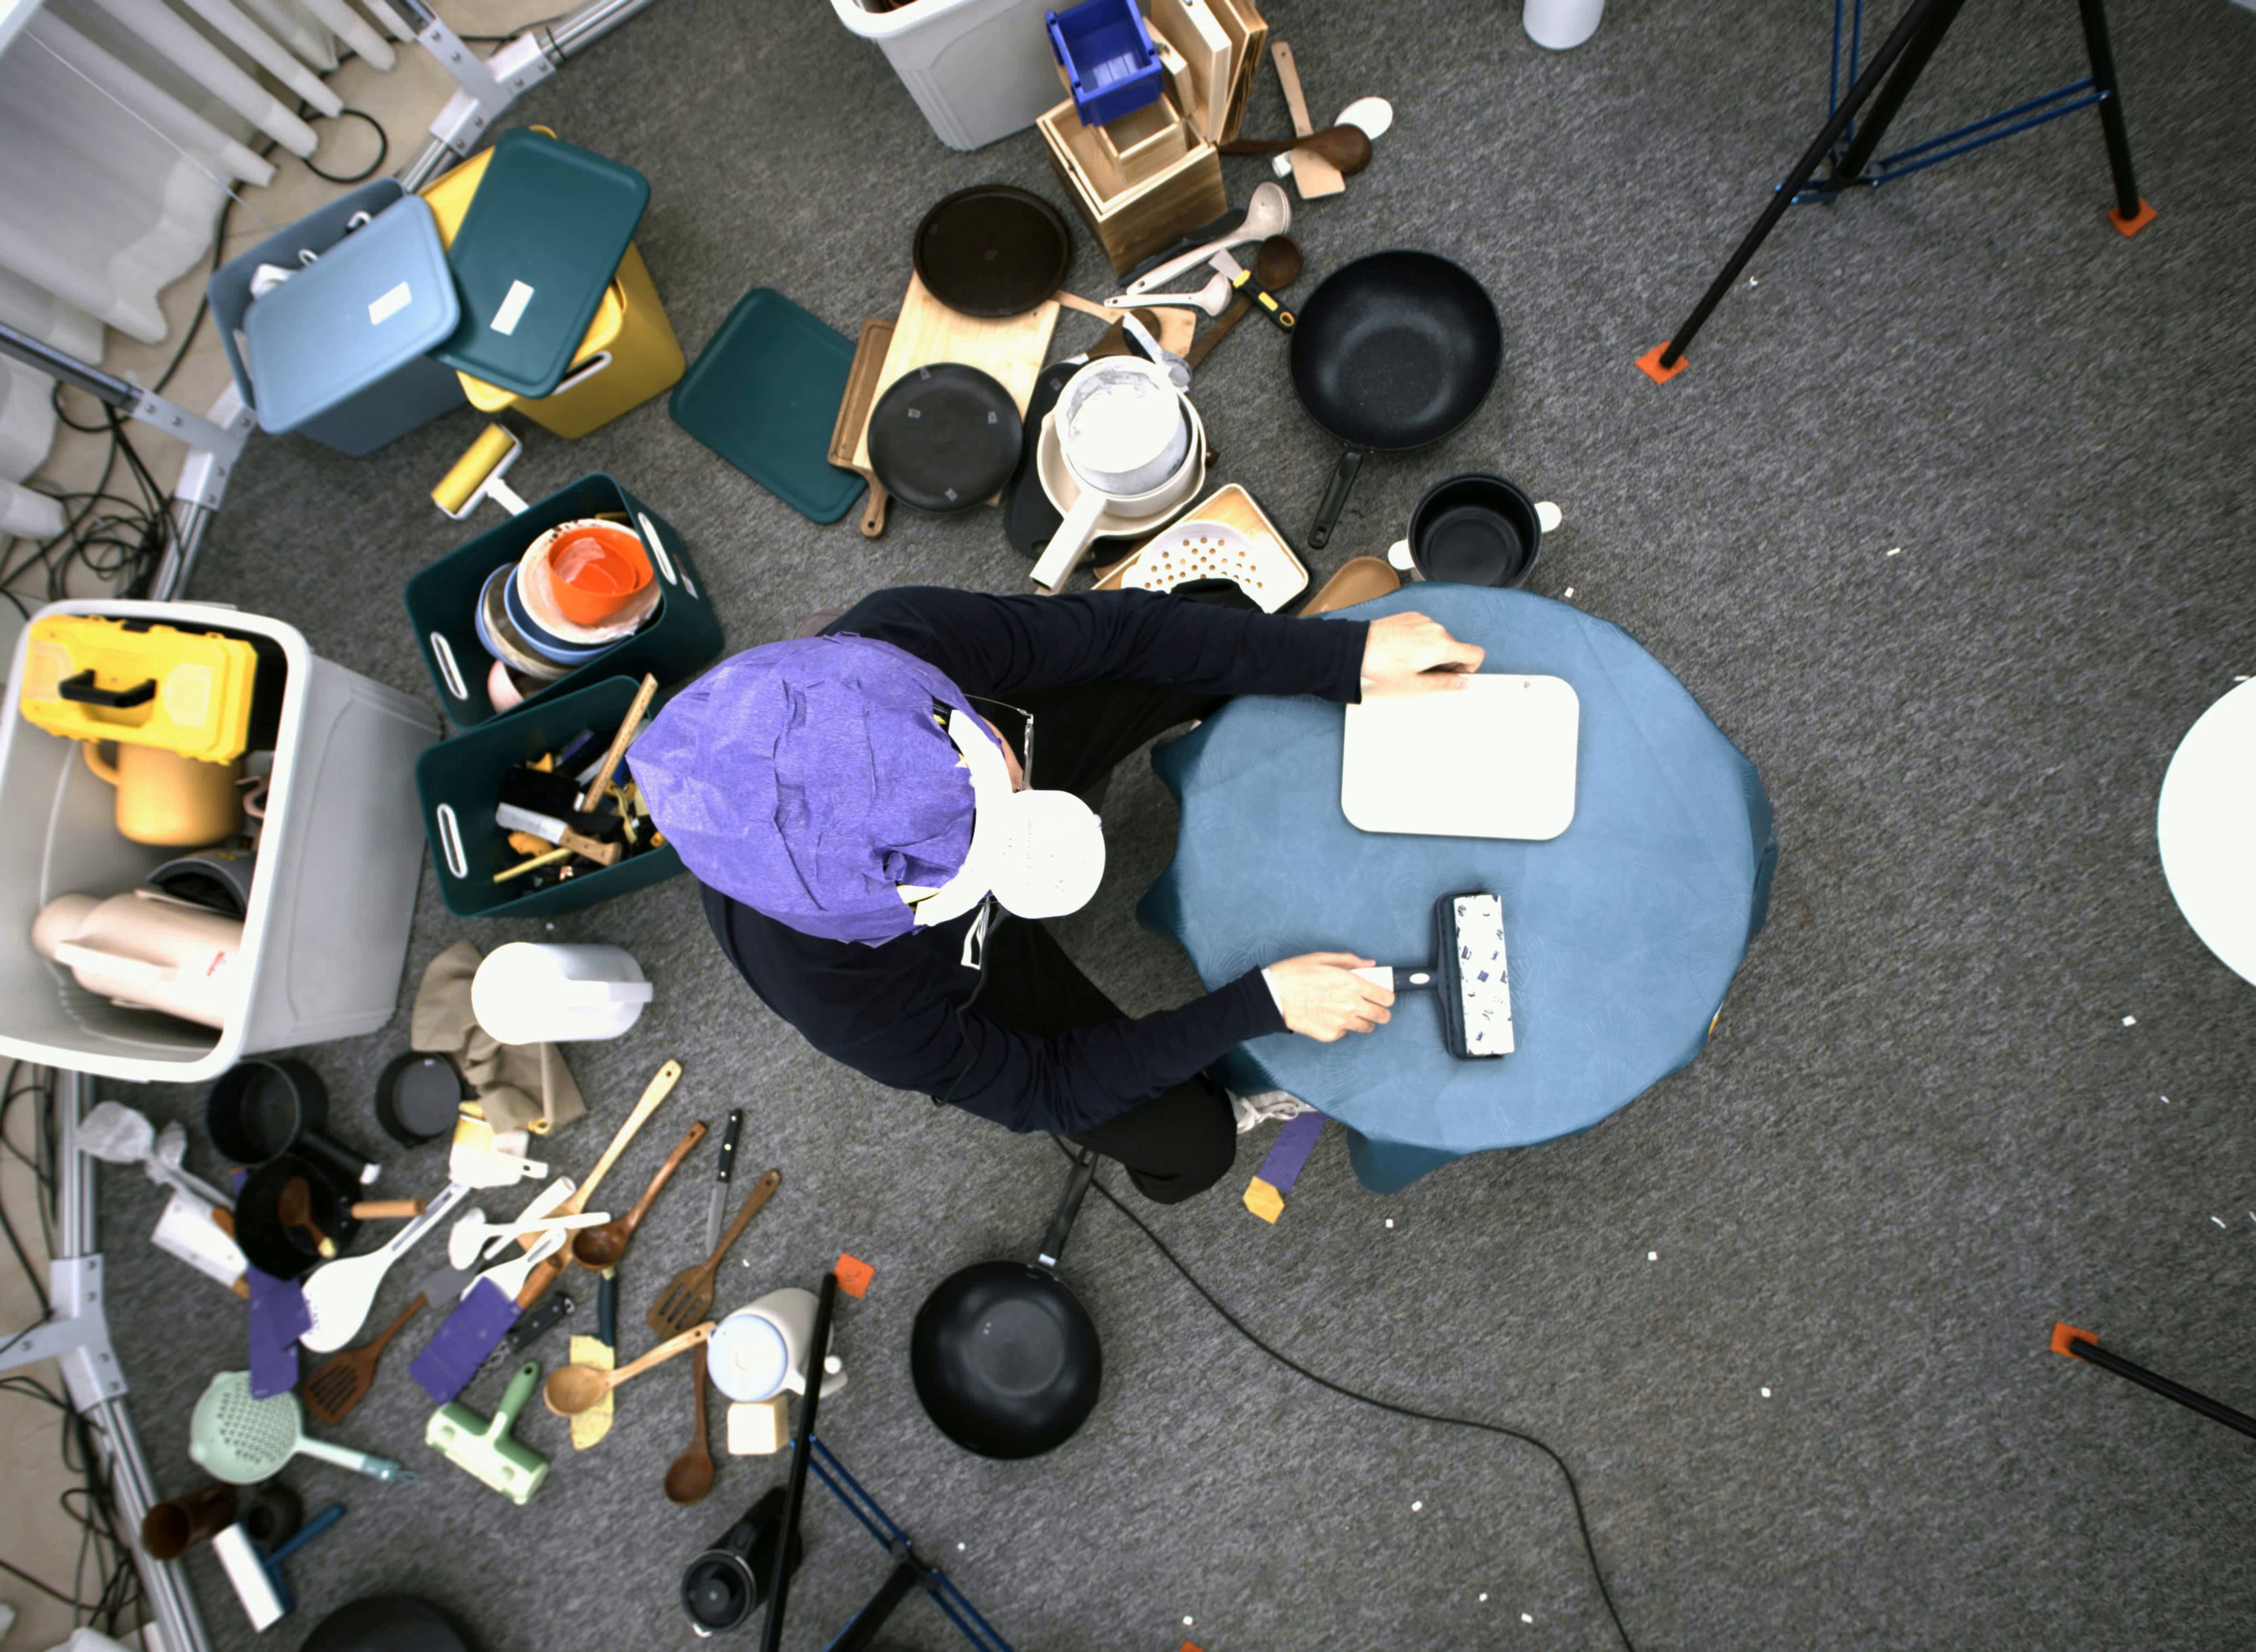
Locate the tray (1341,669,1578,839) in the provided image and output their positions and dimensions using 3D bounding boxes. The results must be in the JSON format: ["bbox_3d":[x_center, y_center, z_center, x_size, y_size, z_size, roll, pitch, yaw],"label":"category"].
[{"bbox_3d":[0.346,-0.078,1.440,0.240,0.017,0.171,4,92,11],"label":"tray"}]

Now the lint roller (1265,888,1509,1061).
[{"bbox_3d":[0.265,0.160,1.435,0.248,0.050,0.175,-5,86,12],"label":"lint roller"}]
